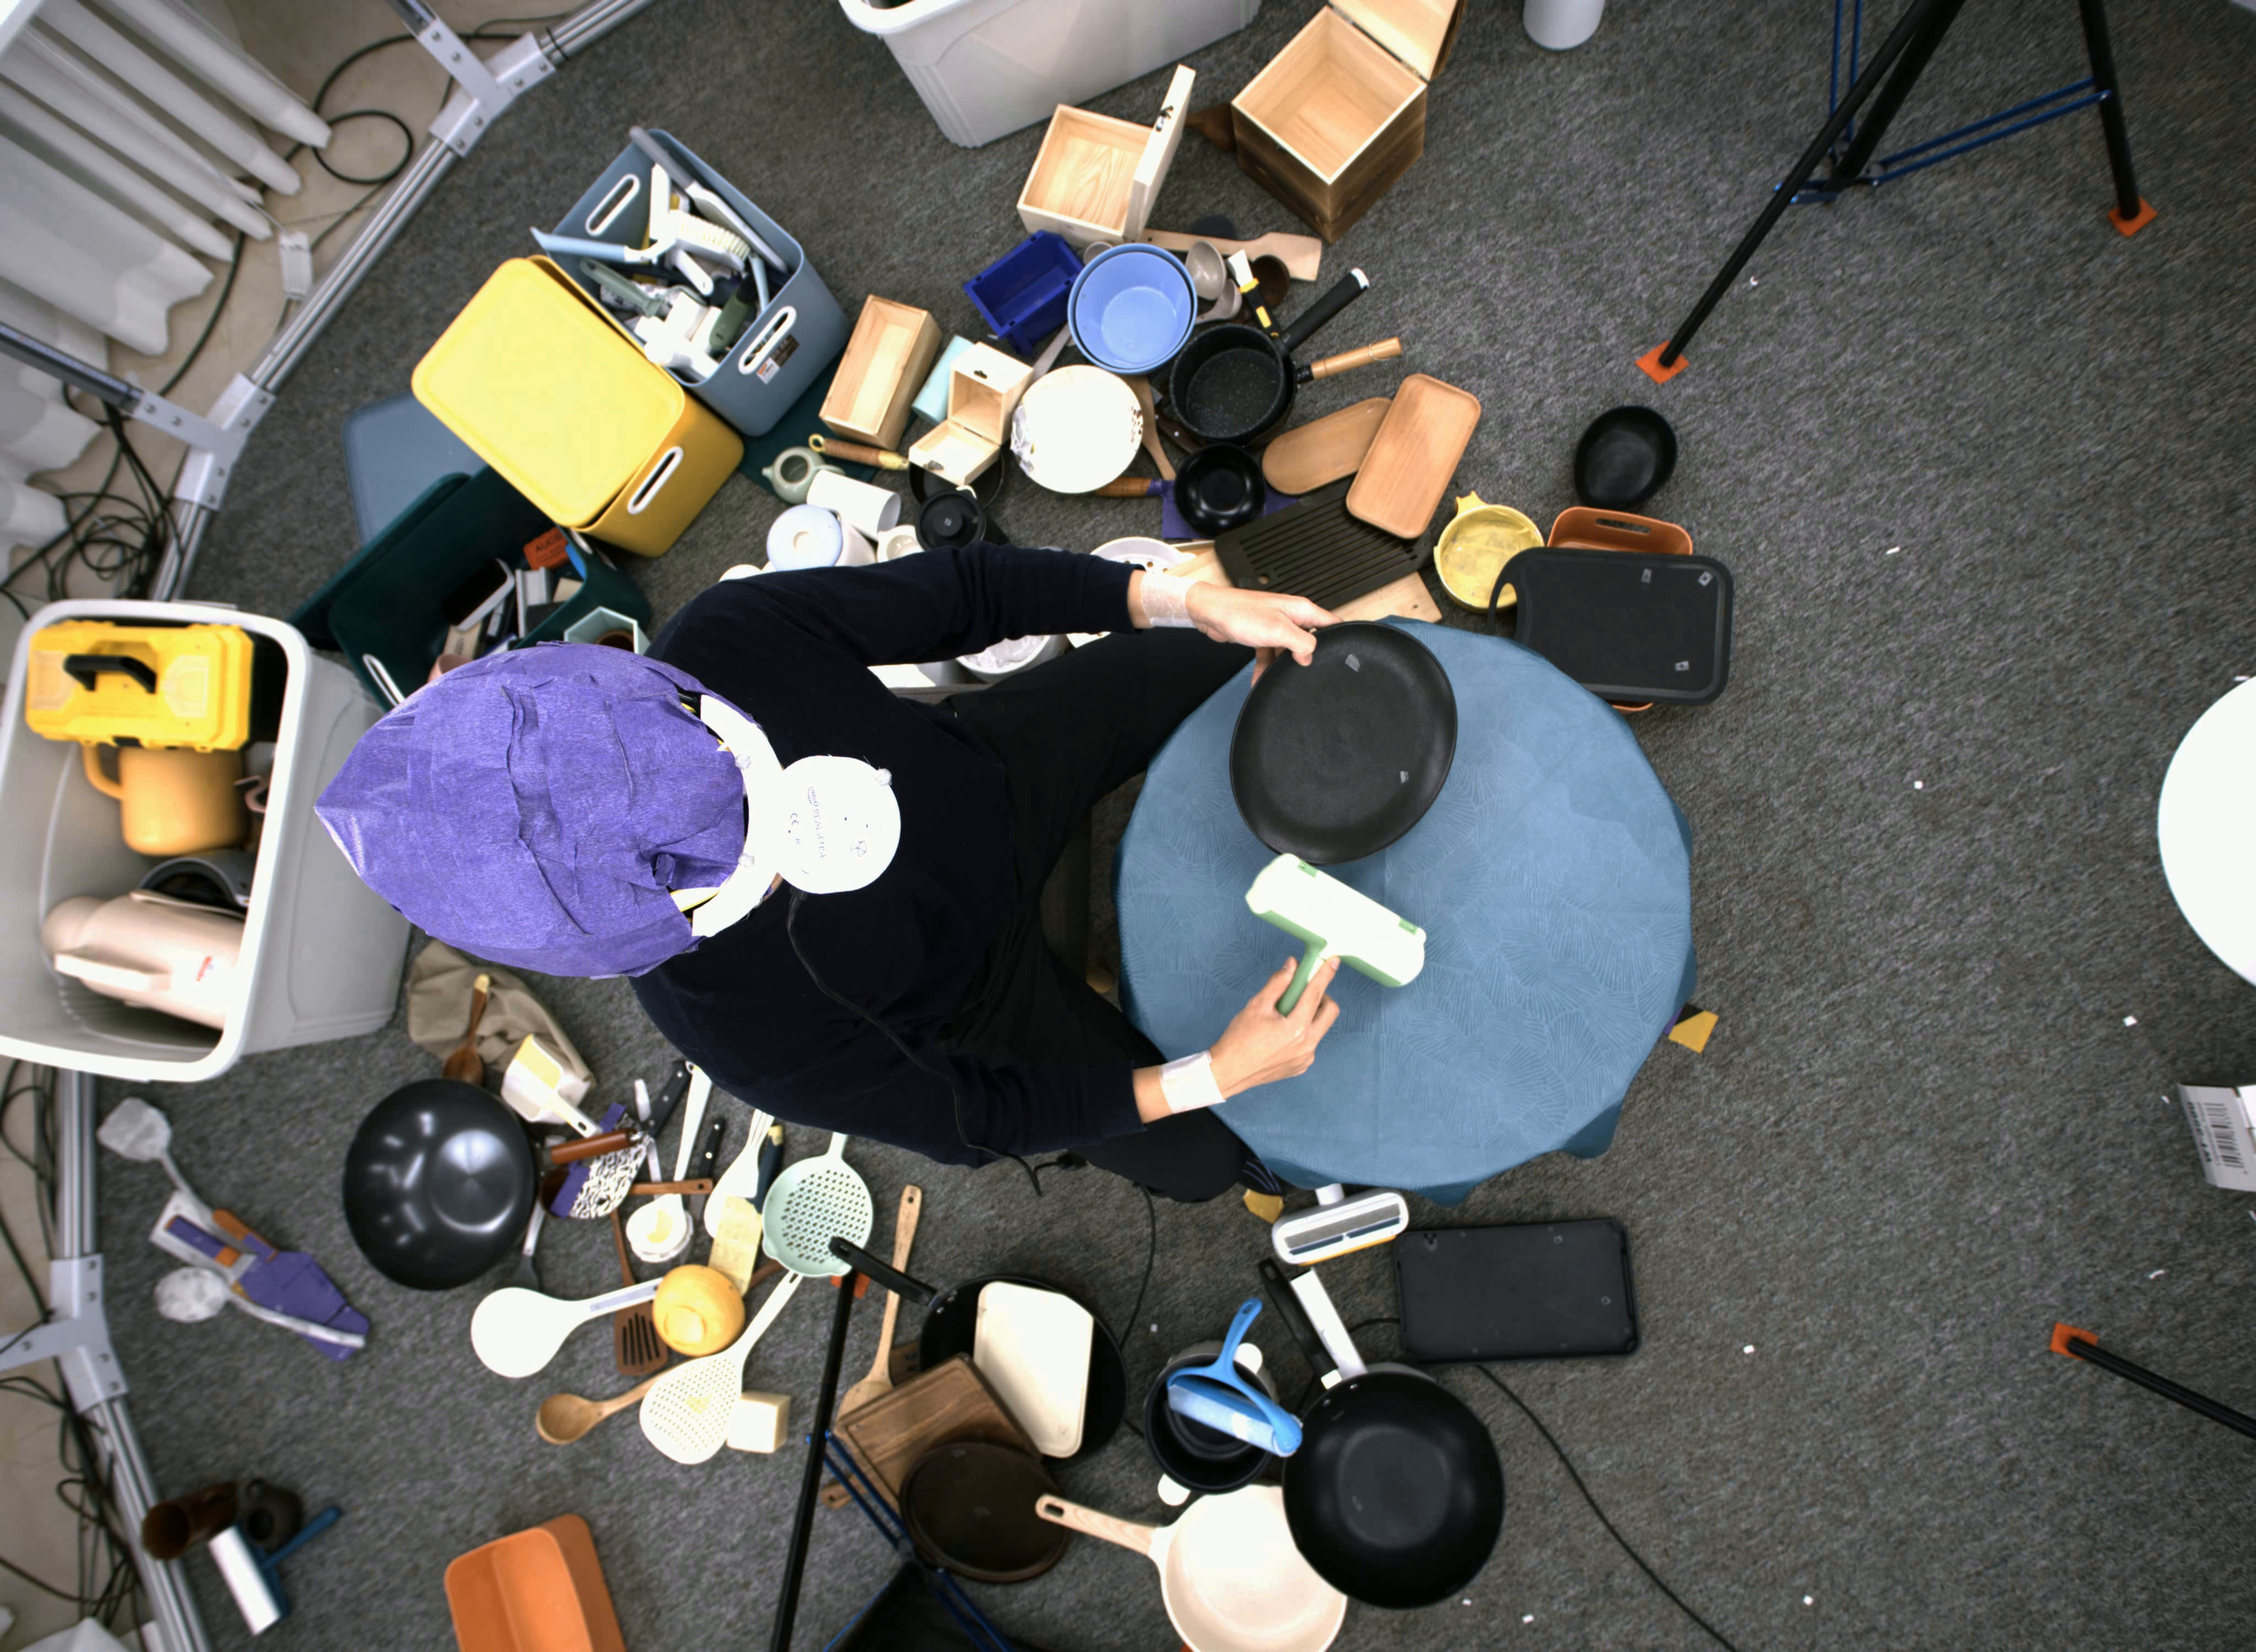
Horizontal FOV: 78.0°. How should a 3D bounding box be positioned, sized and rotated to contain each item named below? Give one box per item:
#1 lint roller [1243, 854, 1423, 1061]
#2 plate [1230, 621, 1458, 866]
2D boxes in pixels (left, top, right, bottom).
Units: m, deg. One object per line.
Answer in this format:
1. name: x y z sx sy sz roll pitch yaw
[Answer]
1. lint roller: 0.187 0.146 1.346 0.199 0.082 0.182 27 80 -25
2. plate: 0.206 -0.079 1.318 0.243 0.023 0.249 -7 114 -17
